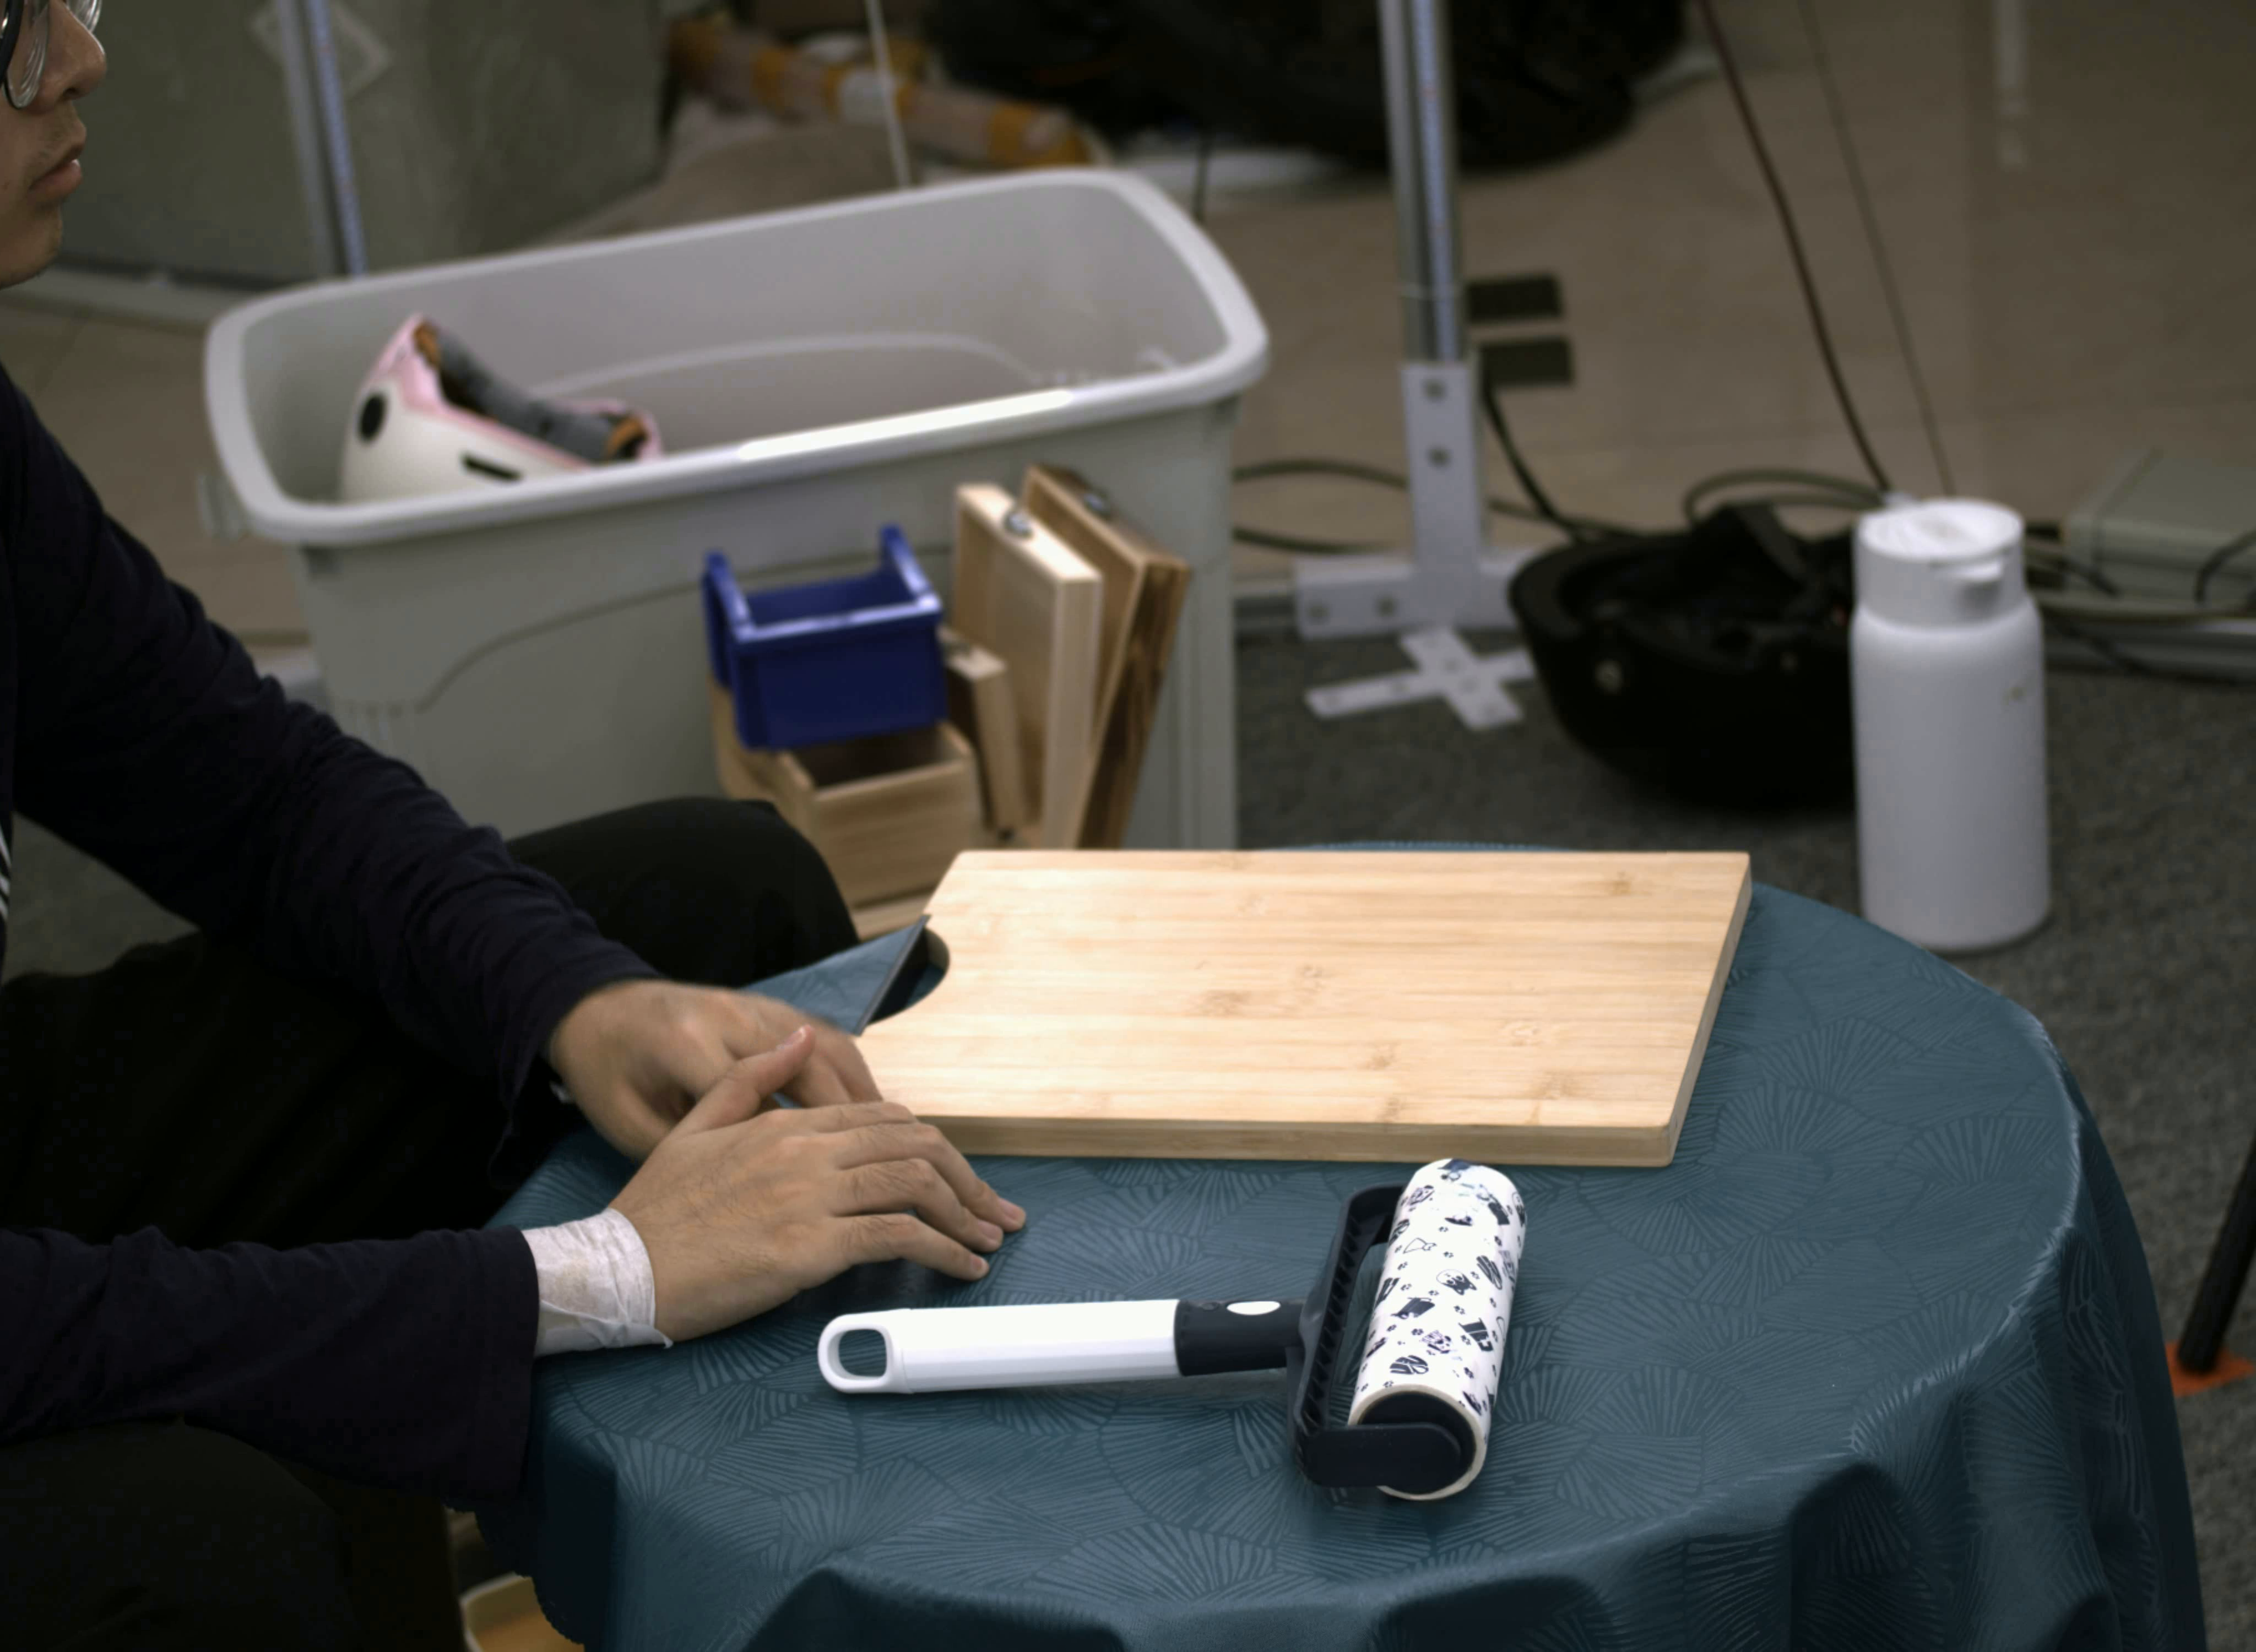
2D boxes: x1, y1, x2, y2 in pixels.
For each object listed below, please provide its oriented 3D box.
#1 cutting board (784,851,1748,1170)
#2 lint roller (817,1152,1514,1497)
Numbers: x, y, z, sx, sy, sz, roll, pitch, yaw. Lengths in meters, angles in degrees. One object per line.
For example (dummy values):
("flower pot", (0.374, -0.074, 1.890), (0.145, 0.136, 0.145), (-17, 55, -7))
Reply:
("cutting board", (0.060, 0.070, 2.267), (0.348, 0.024, 0.247), (0, 25, 14))
("lint roller", (0.008, 0.182, 2.009), (0.247, 0.051, 0.173), (-4, 26, 11))
